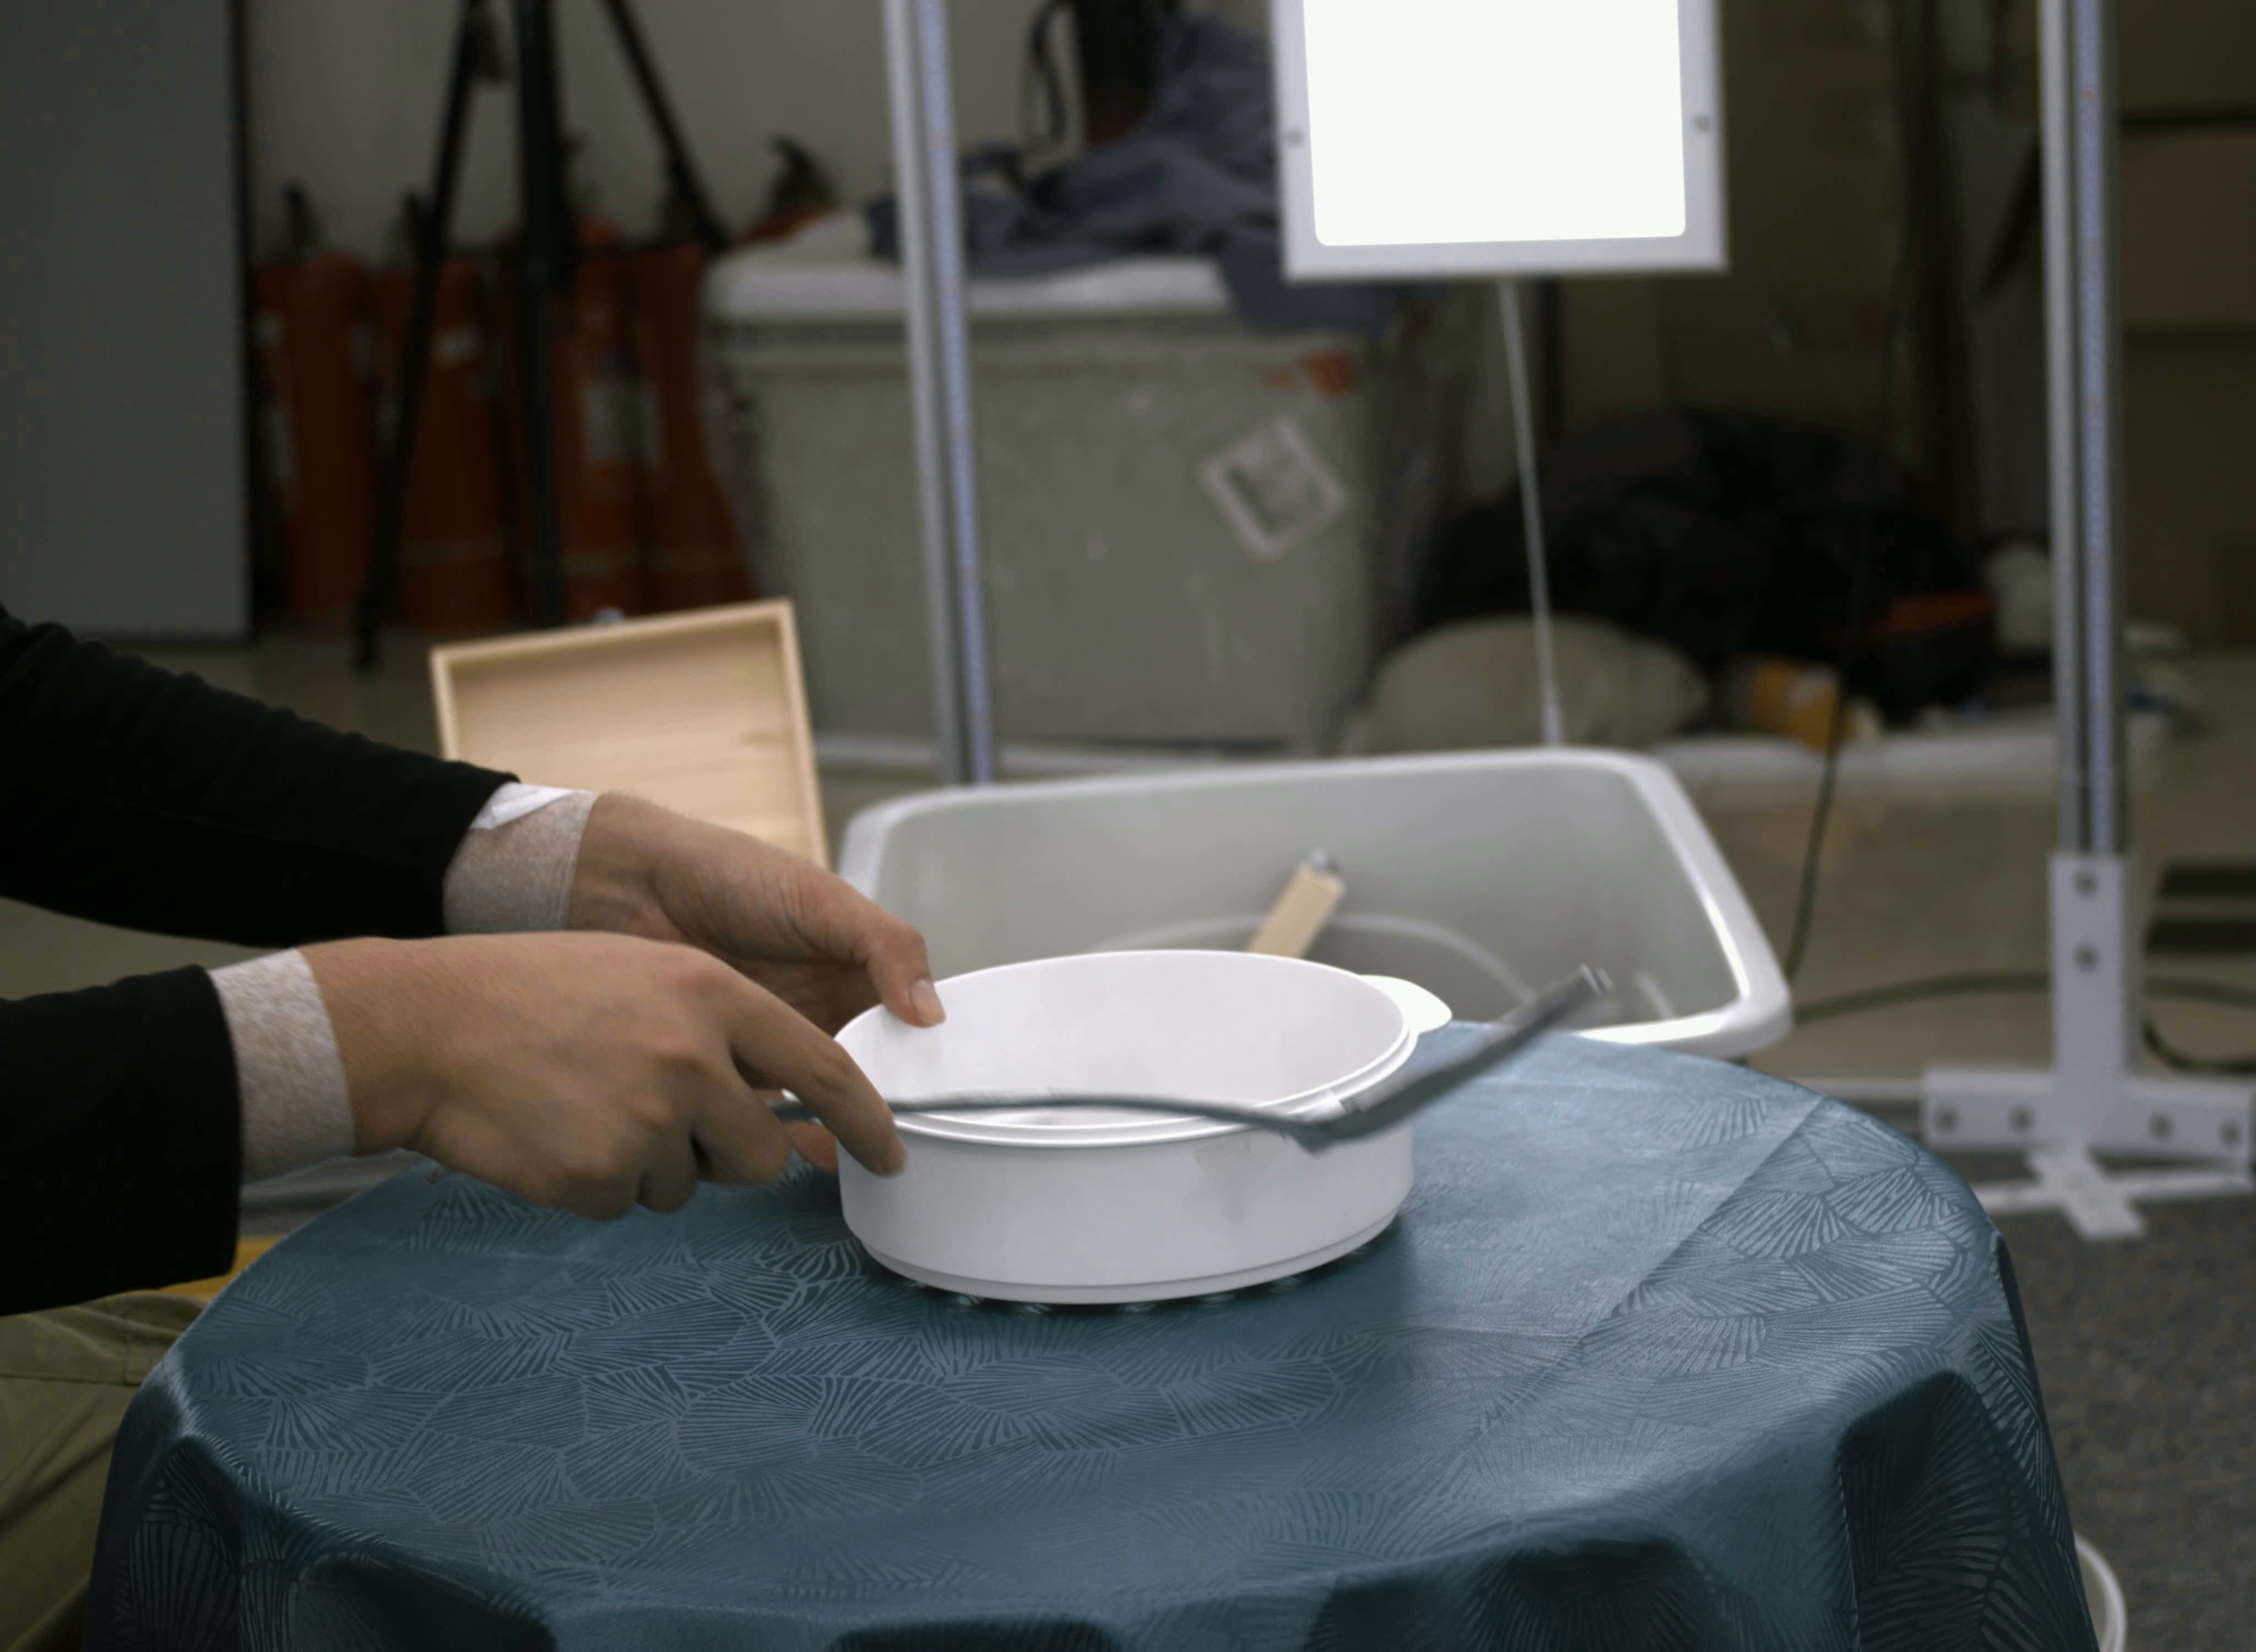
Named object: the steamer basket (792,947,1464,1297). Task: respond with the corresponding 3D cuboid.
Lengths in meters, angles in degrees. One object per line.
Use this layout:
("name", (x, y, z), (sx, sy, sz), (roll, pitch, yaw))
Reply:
("steamer basket", (0.004, 0.100, 1.853), (0.227, 0.069, 0.204), (-9, 15, -15))

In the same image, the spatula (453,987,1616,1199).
("spatula", (-0.025, 0.082, 1.663), (0.359, 0.045, 0.100), (-1, -12, -16))
